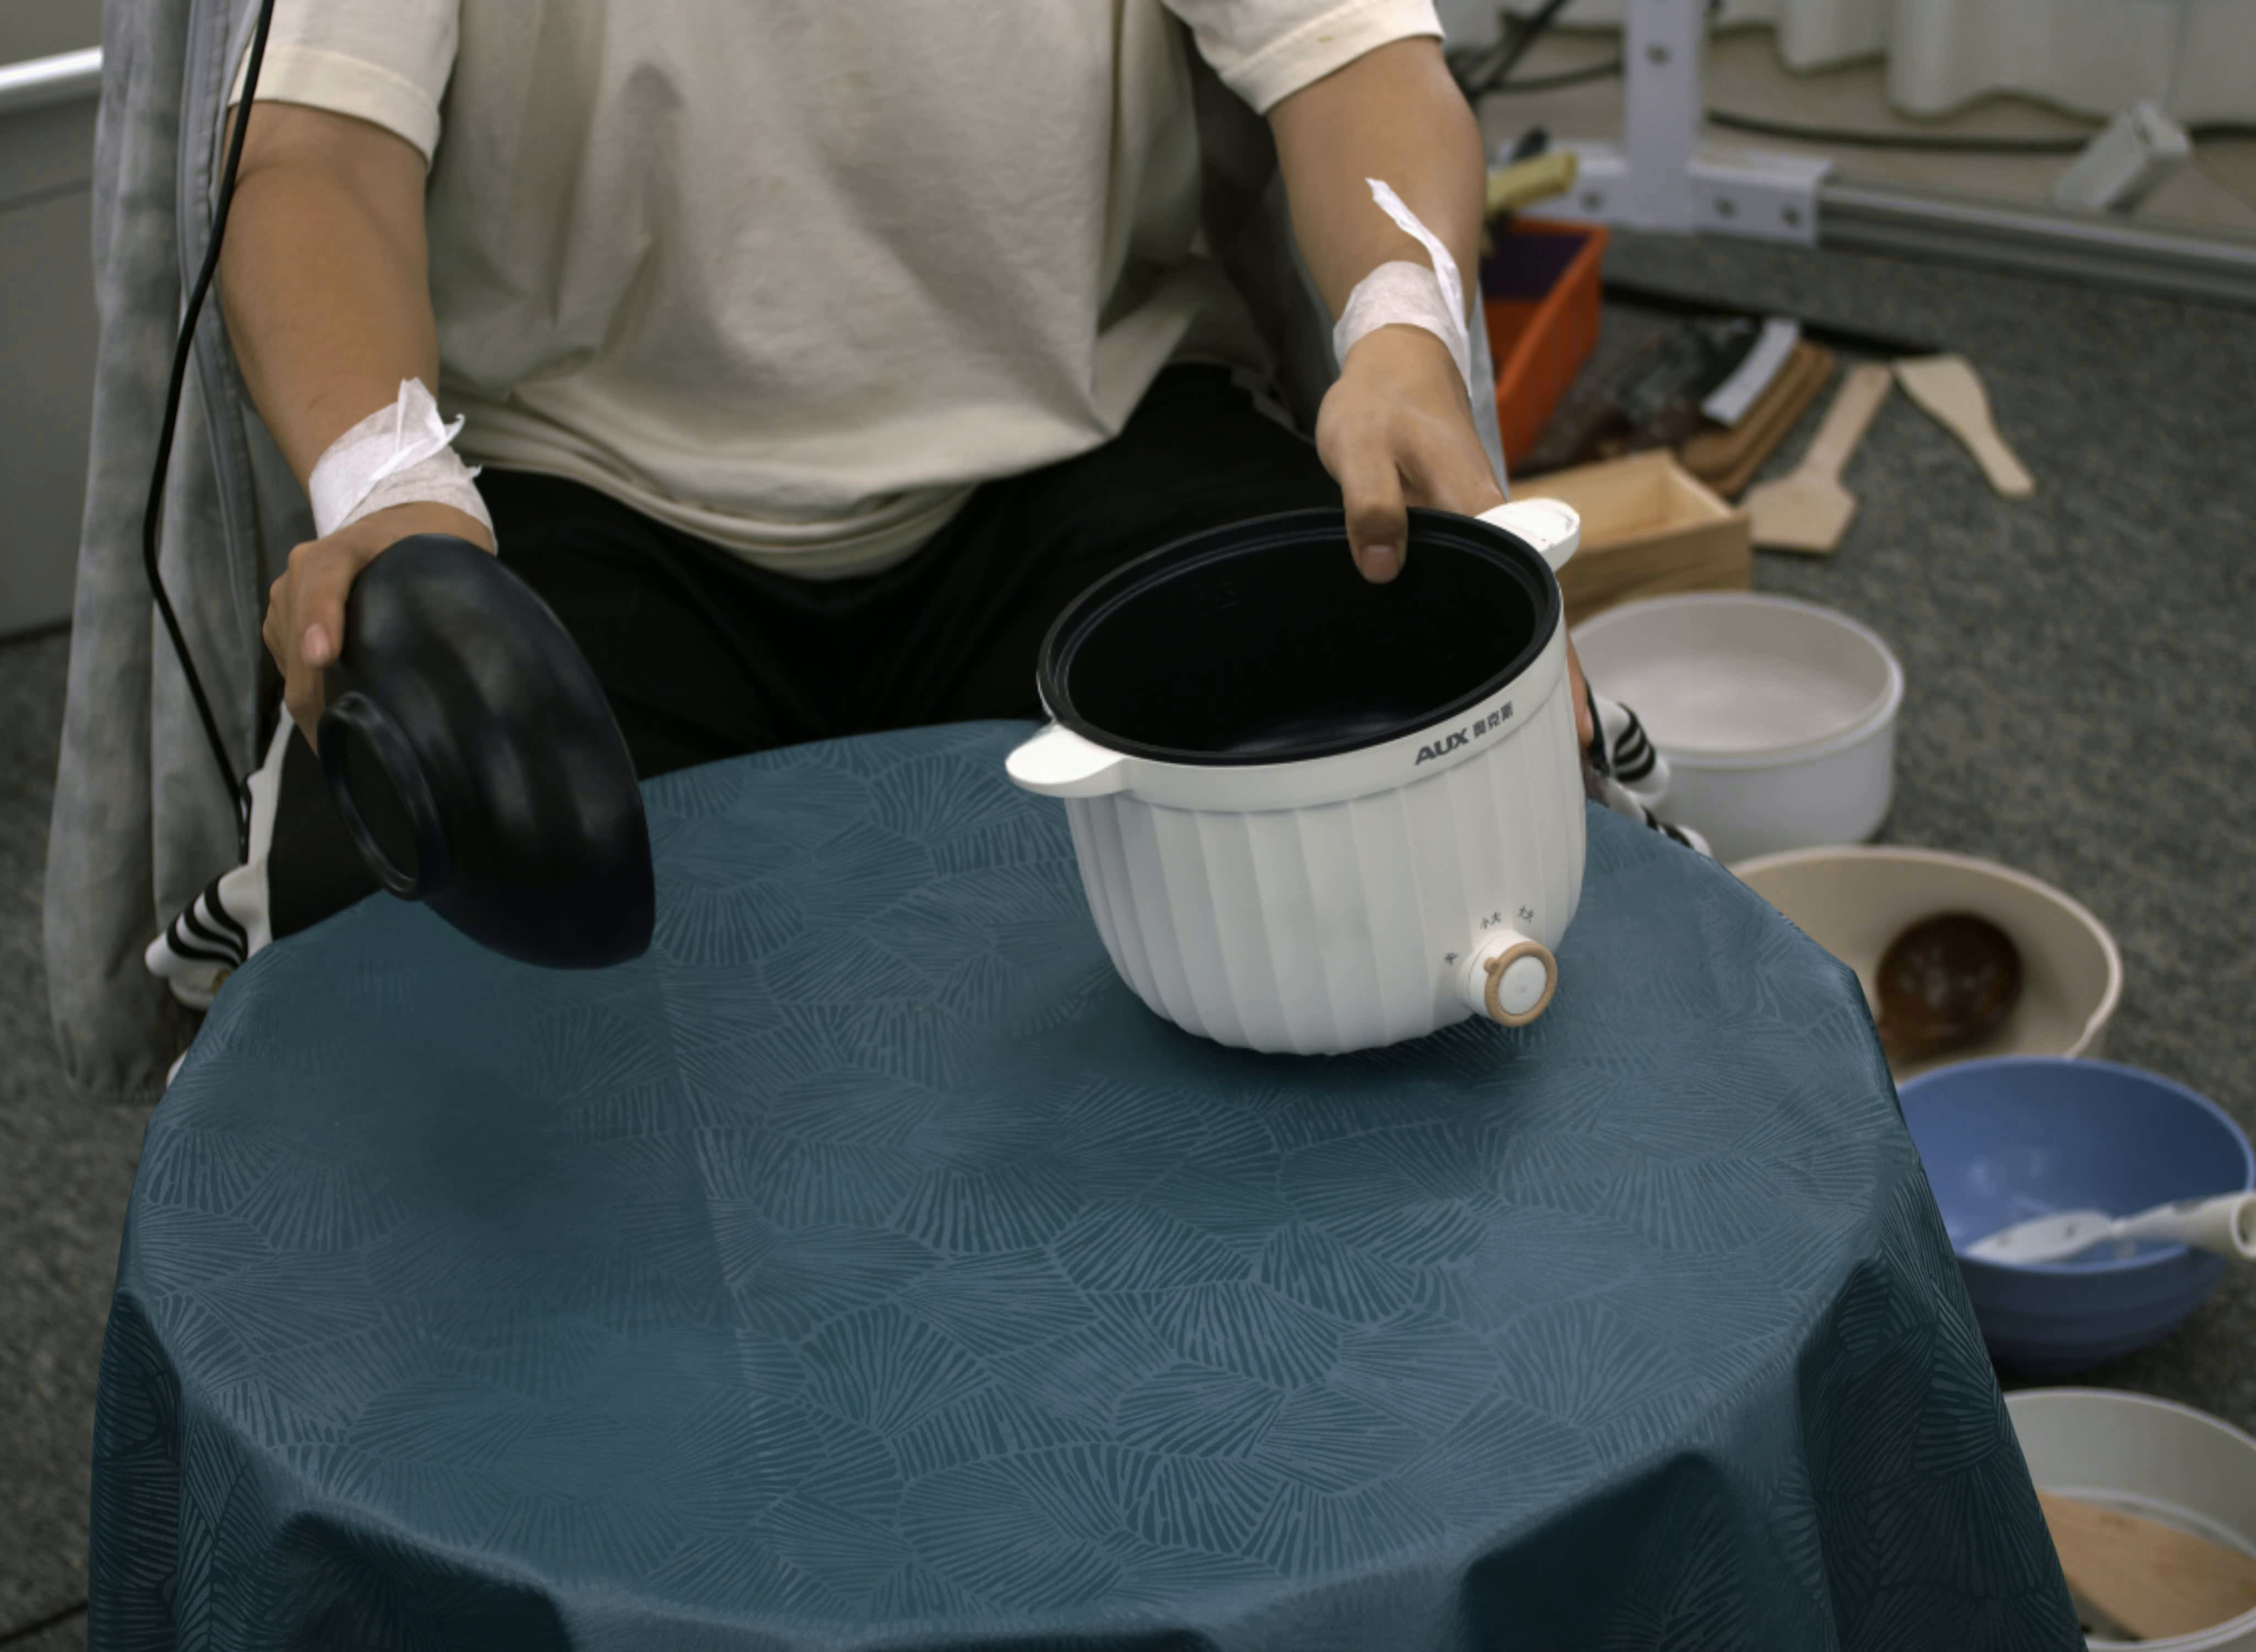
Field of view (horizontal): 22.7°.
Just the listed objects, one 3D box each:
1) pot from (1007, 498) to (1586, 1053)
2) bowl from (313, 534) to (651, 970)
[{"bbox_3d":[0.073,-0.010,1.946,0.243,0.141,0.190,-27,28,-28],"label":"pot"},{"bbox_3d":[-0.222,-0.018,1.843,0.067,0.135,0.172,-23,58,-28],"label":"bowl"}]
